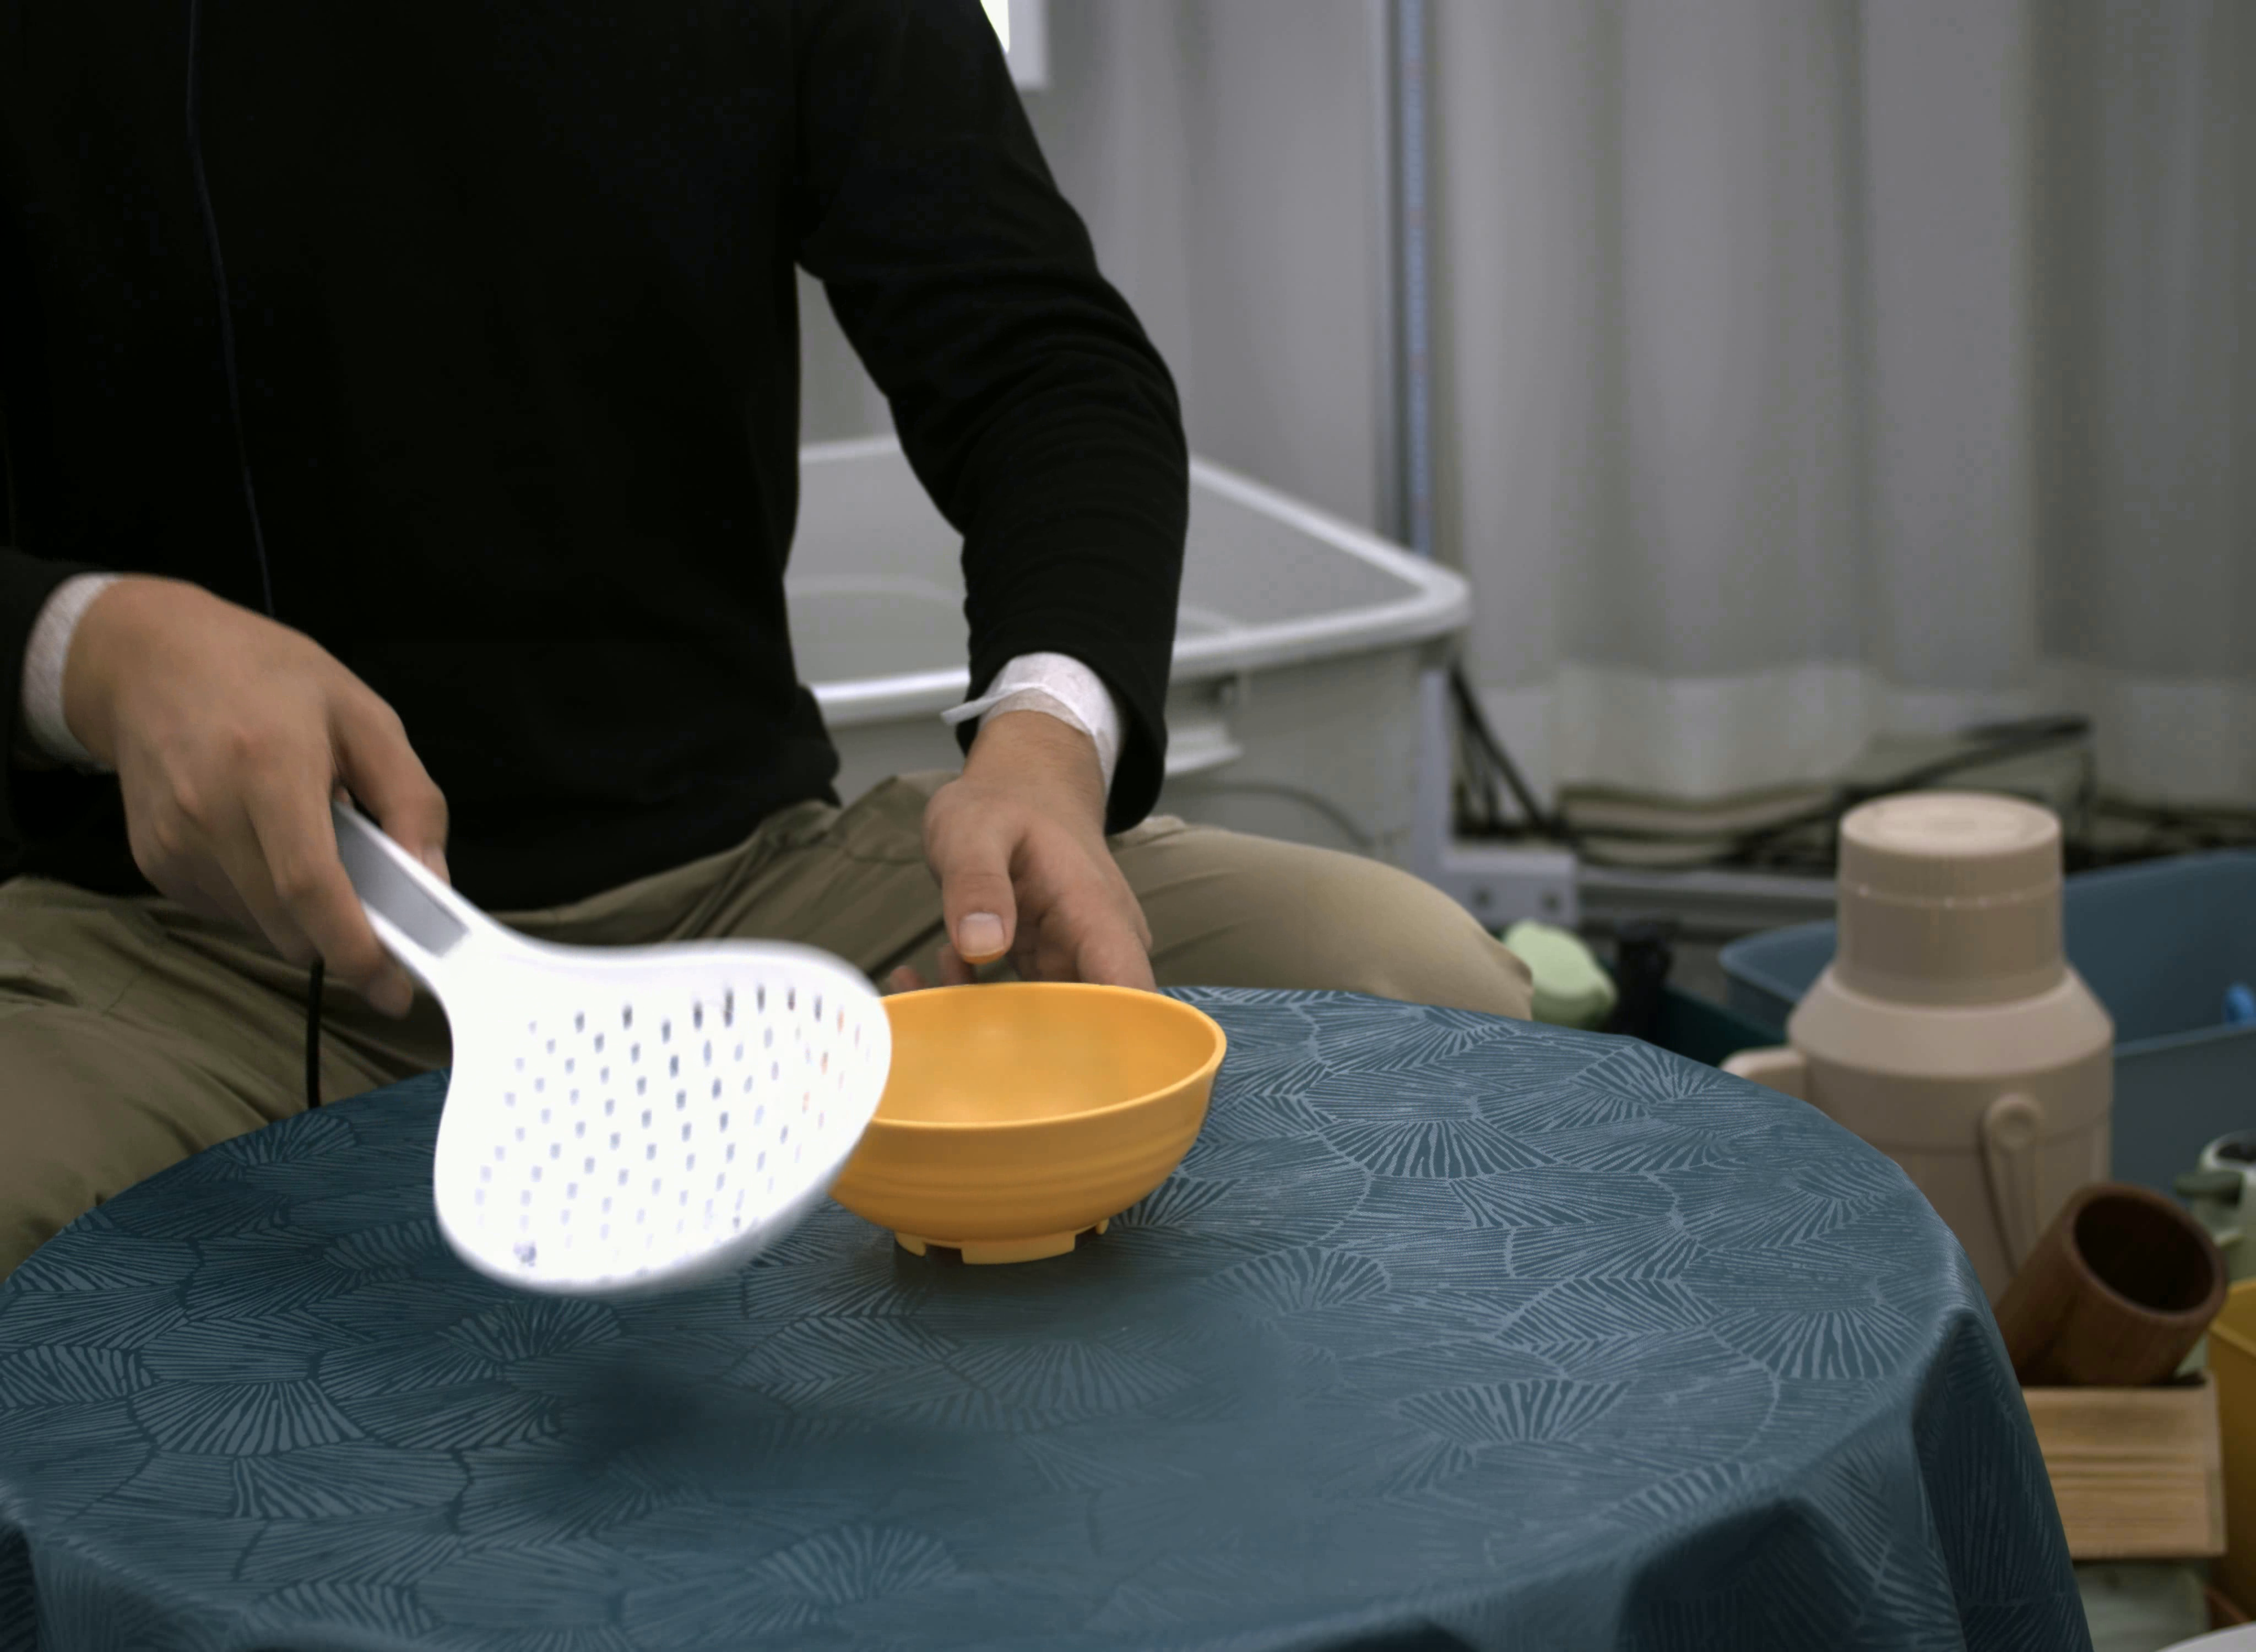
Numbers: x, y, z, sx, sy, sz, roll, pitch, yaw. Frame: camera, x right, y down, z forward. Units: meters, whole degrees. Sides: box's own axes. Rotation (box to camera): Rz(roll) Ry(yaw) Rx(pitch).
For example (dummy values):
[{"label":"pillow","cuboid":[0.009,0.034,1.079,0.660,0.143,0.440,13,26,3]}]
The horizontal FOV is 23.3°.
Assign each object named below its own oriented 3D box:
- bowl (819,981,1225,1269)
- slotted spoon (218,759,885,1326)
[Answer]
[{"label":"bowl","cuboid":[-0.042,0.097,1.679,0.145,0.060,0.146,-1,16,0]},{"label":"slotted spoon","cuboid":[-0.187,0.054,1.610,0.136,0.045,0.354,-34,41,-17]}]
